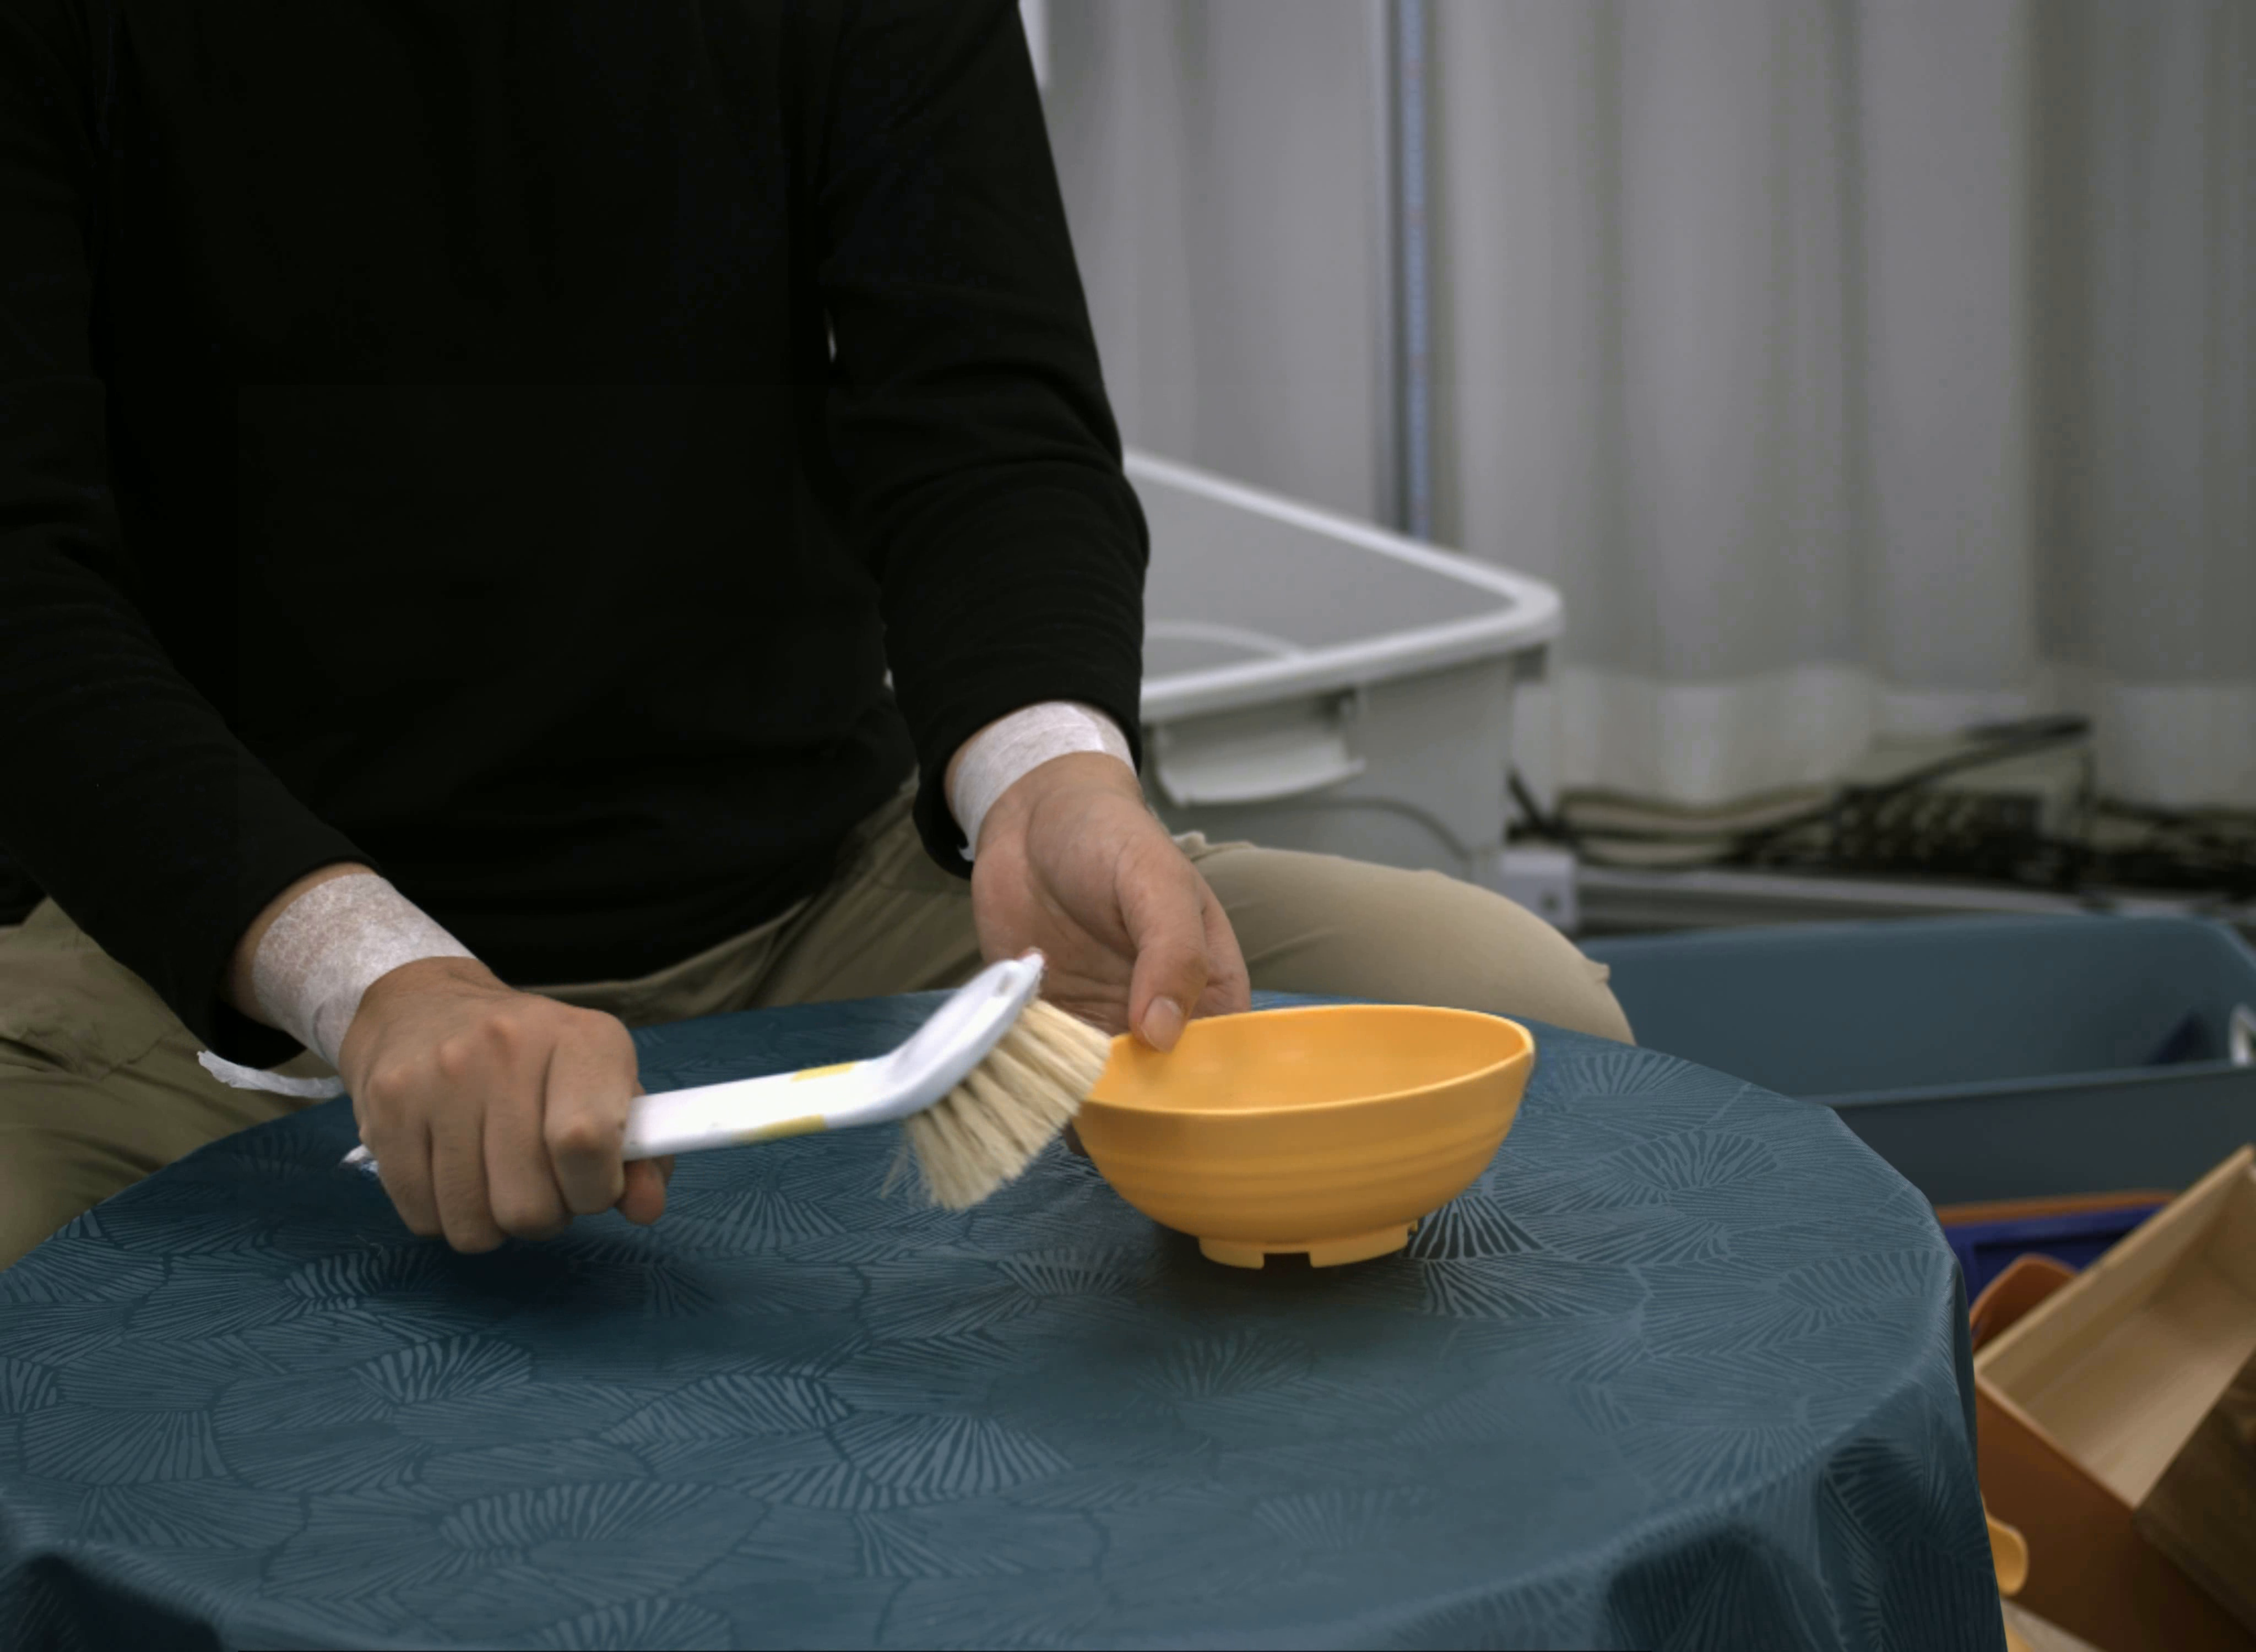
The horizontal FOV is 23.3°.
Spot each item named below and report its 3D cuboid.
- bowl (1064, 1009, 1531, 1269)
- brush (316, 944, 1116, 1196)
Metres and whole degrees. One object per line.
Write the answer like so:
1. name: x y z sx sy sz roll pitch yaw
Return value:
1. bowl: 0.051 0.096 1.643 0.145 0.060 0.146 -4 9 0
2. brush: -0.122 0.092 1.625 0.266 0.056 0.069 -15 18 26
